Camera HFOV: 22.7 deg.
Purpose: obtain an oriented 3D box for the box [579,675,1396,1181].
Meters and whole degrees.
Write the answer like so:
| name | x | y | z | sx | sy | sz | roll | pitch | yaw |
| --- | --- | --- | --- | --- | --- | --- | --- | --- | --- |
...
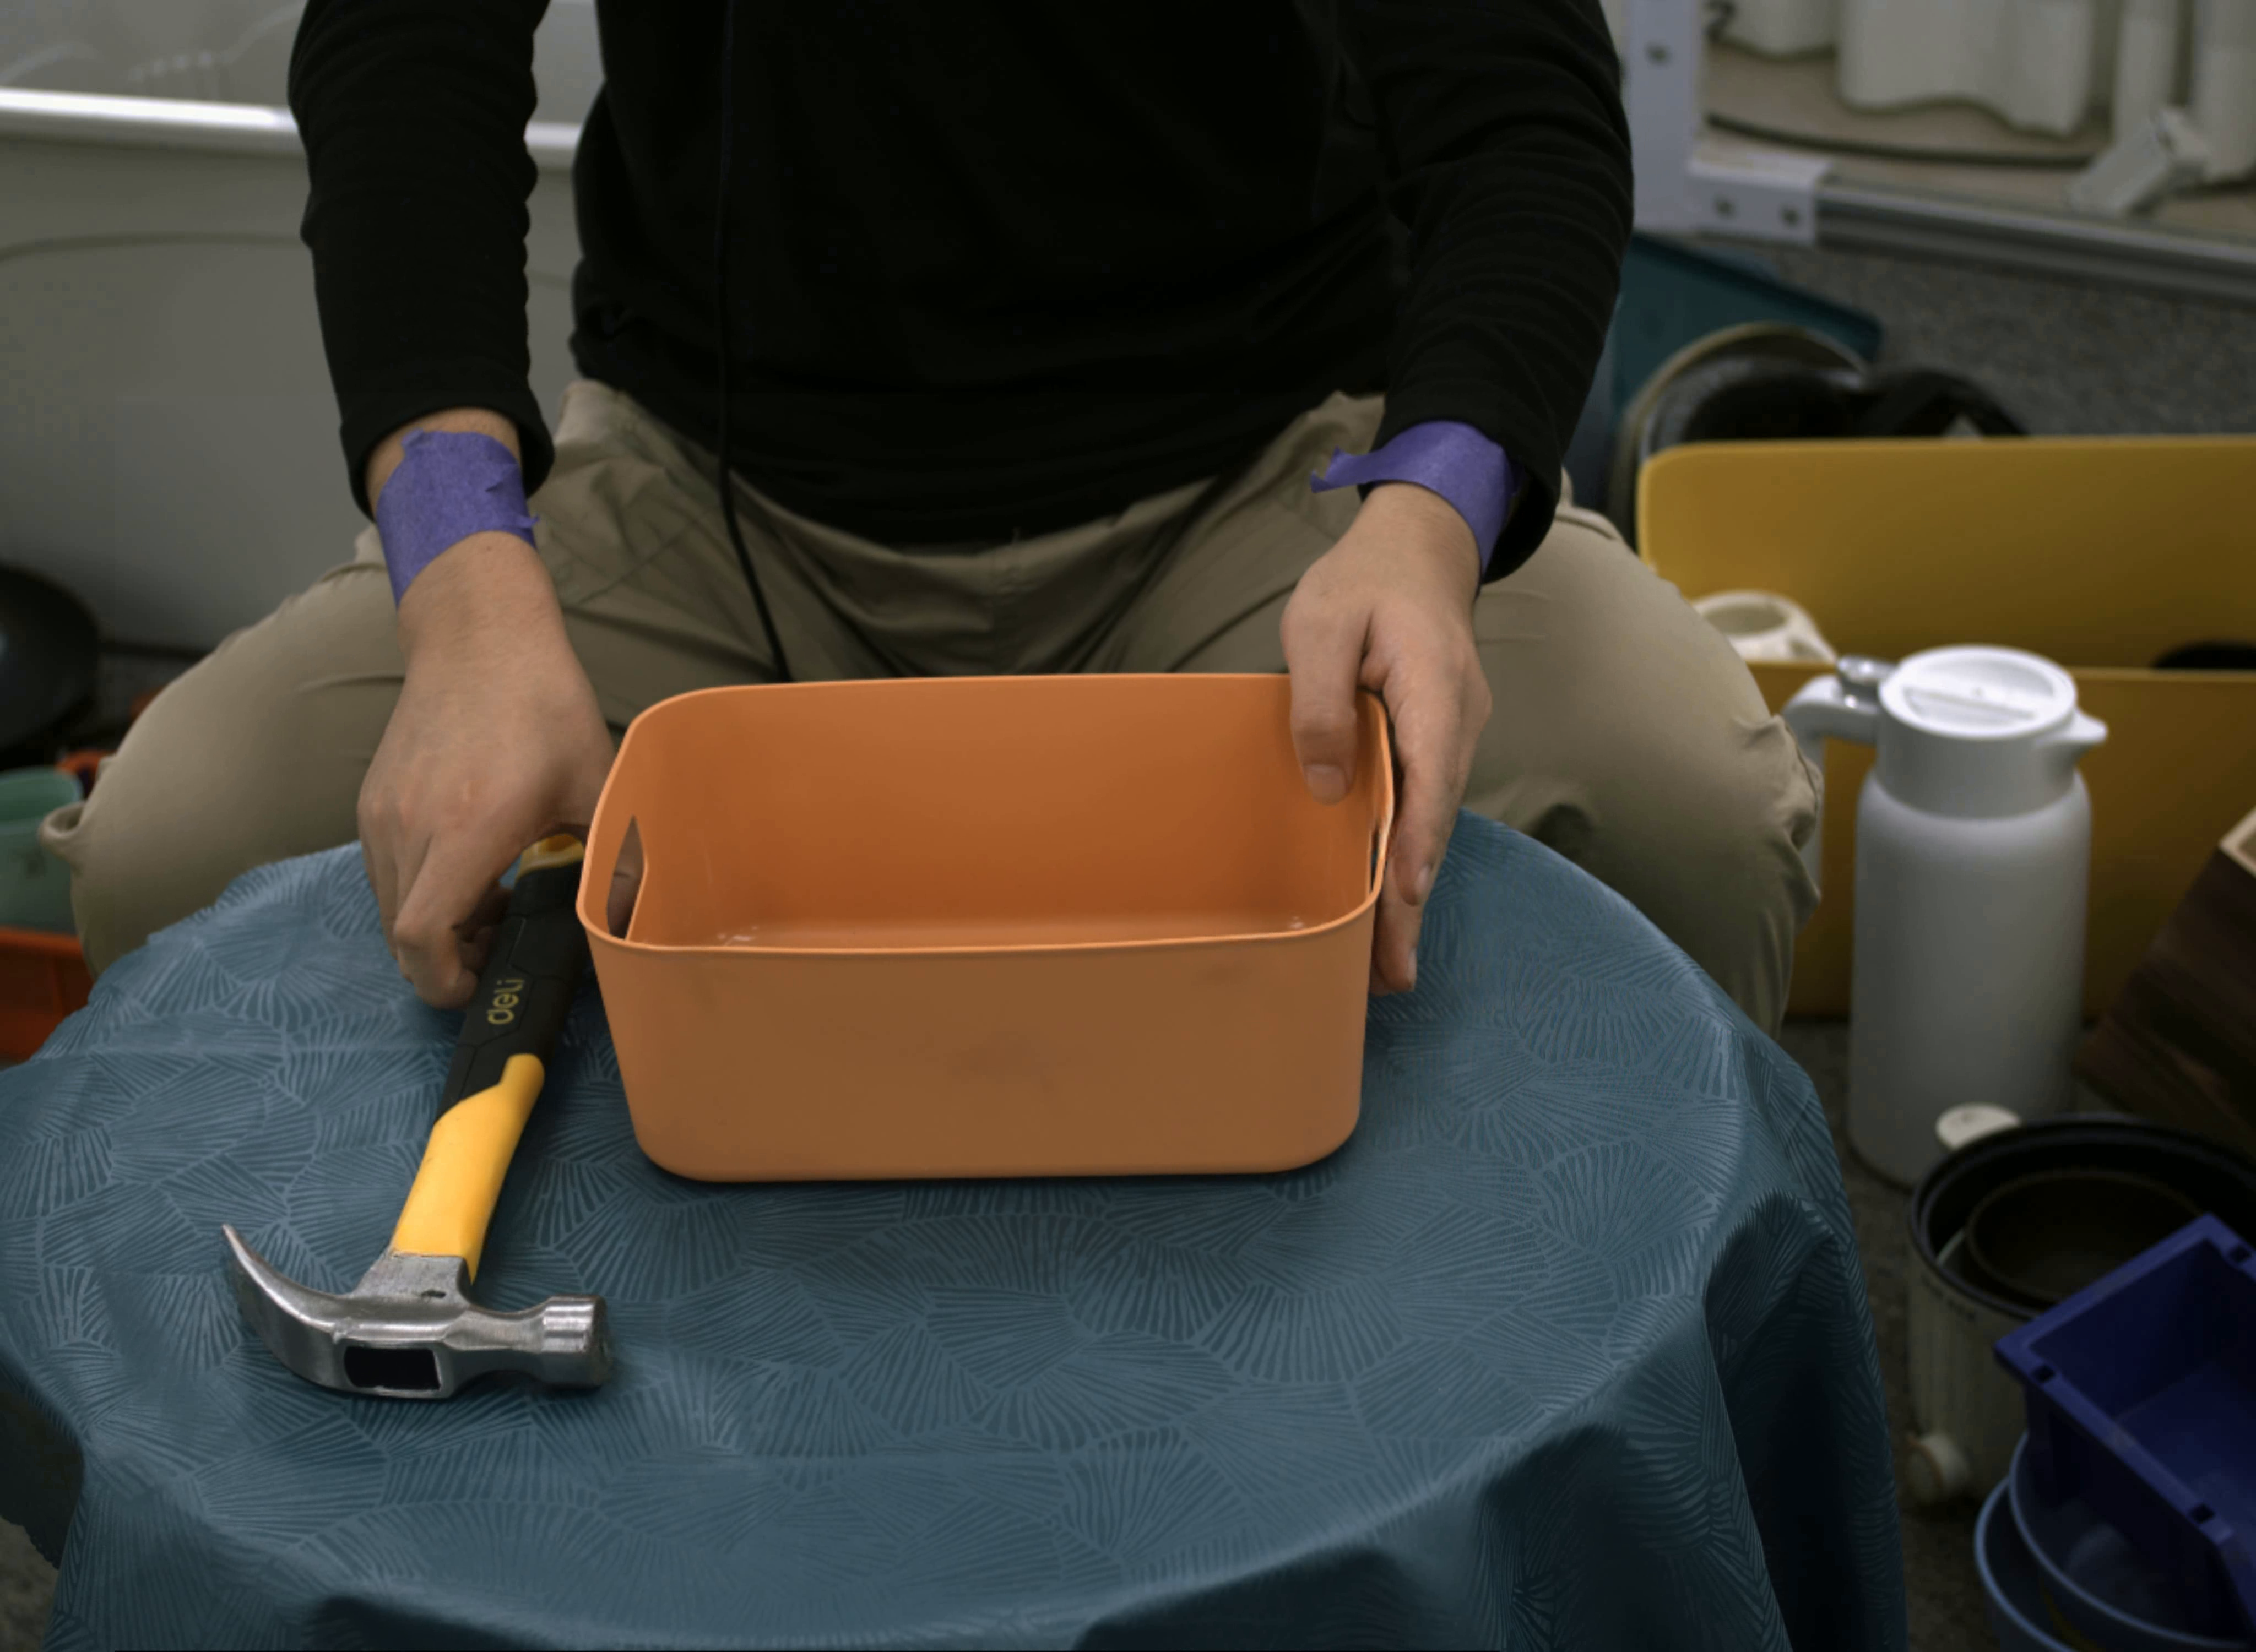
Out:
| name | x | y | z | sx | sy | sz | roll | pitch | yaw |
| --- | --- | --- | --- | --- | --- | --- | --- | --- | --- |
| box | -0.044 | 0.036 | 1.918 | 0.272 | 0.101 | 0.202 | -1 | 26 | 3 |

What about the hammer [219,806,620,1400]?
| name | x | y | z | sx | sy | sz | roll | pitch | yaw |
| --- | --- | --- | --- | --- | --- | --- | --- | --- | --- |
| hammer | -0.215 | 0.086 | 1.904 | 0.130 | 0.032 | 0.344 | 0 | 29 | 7 |
